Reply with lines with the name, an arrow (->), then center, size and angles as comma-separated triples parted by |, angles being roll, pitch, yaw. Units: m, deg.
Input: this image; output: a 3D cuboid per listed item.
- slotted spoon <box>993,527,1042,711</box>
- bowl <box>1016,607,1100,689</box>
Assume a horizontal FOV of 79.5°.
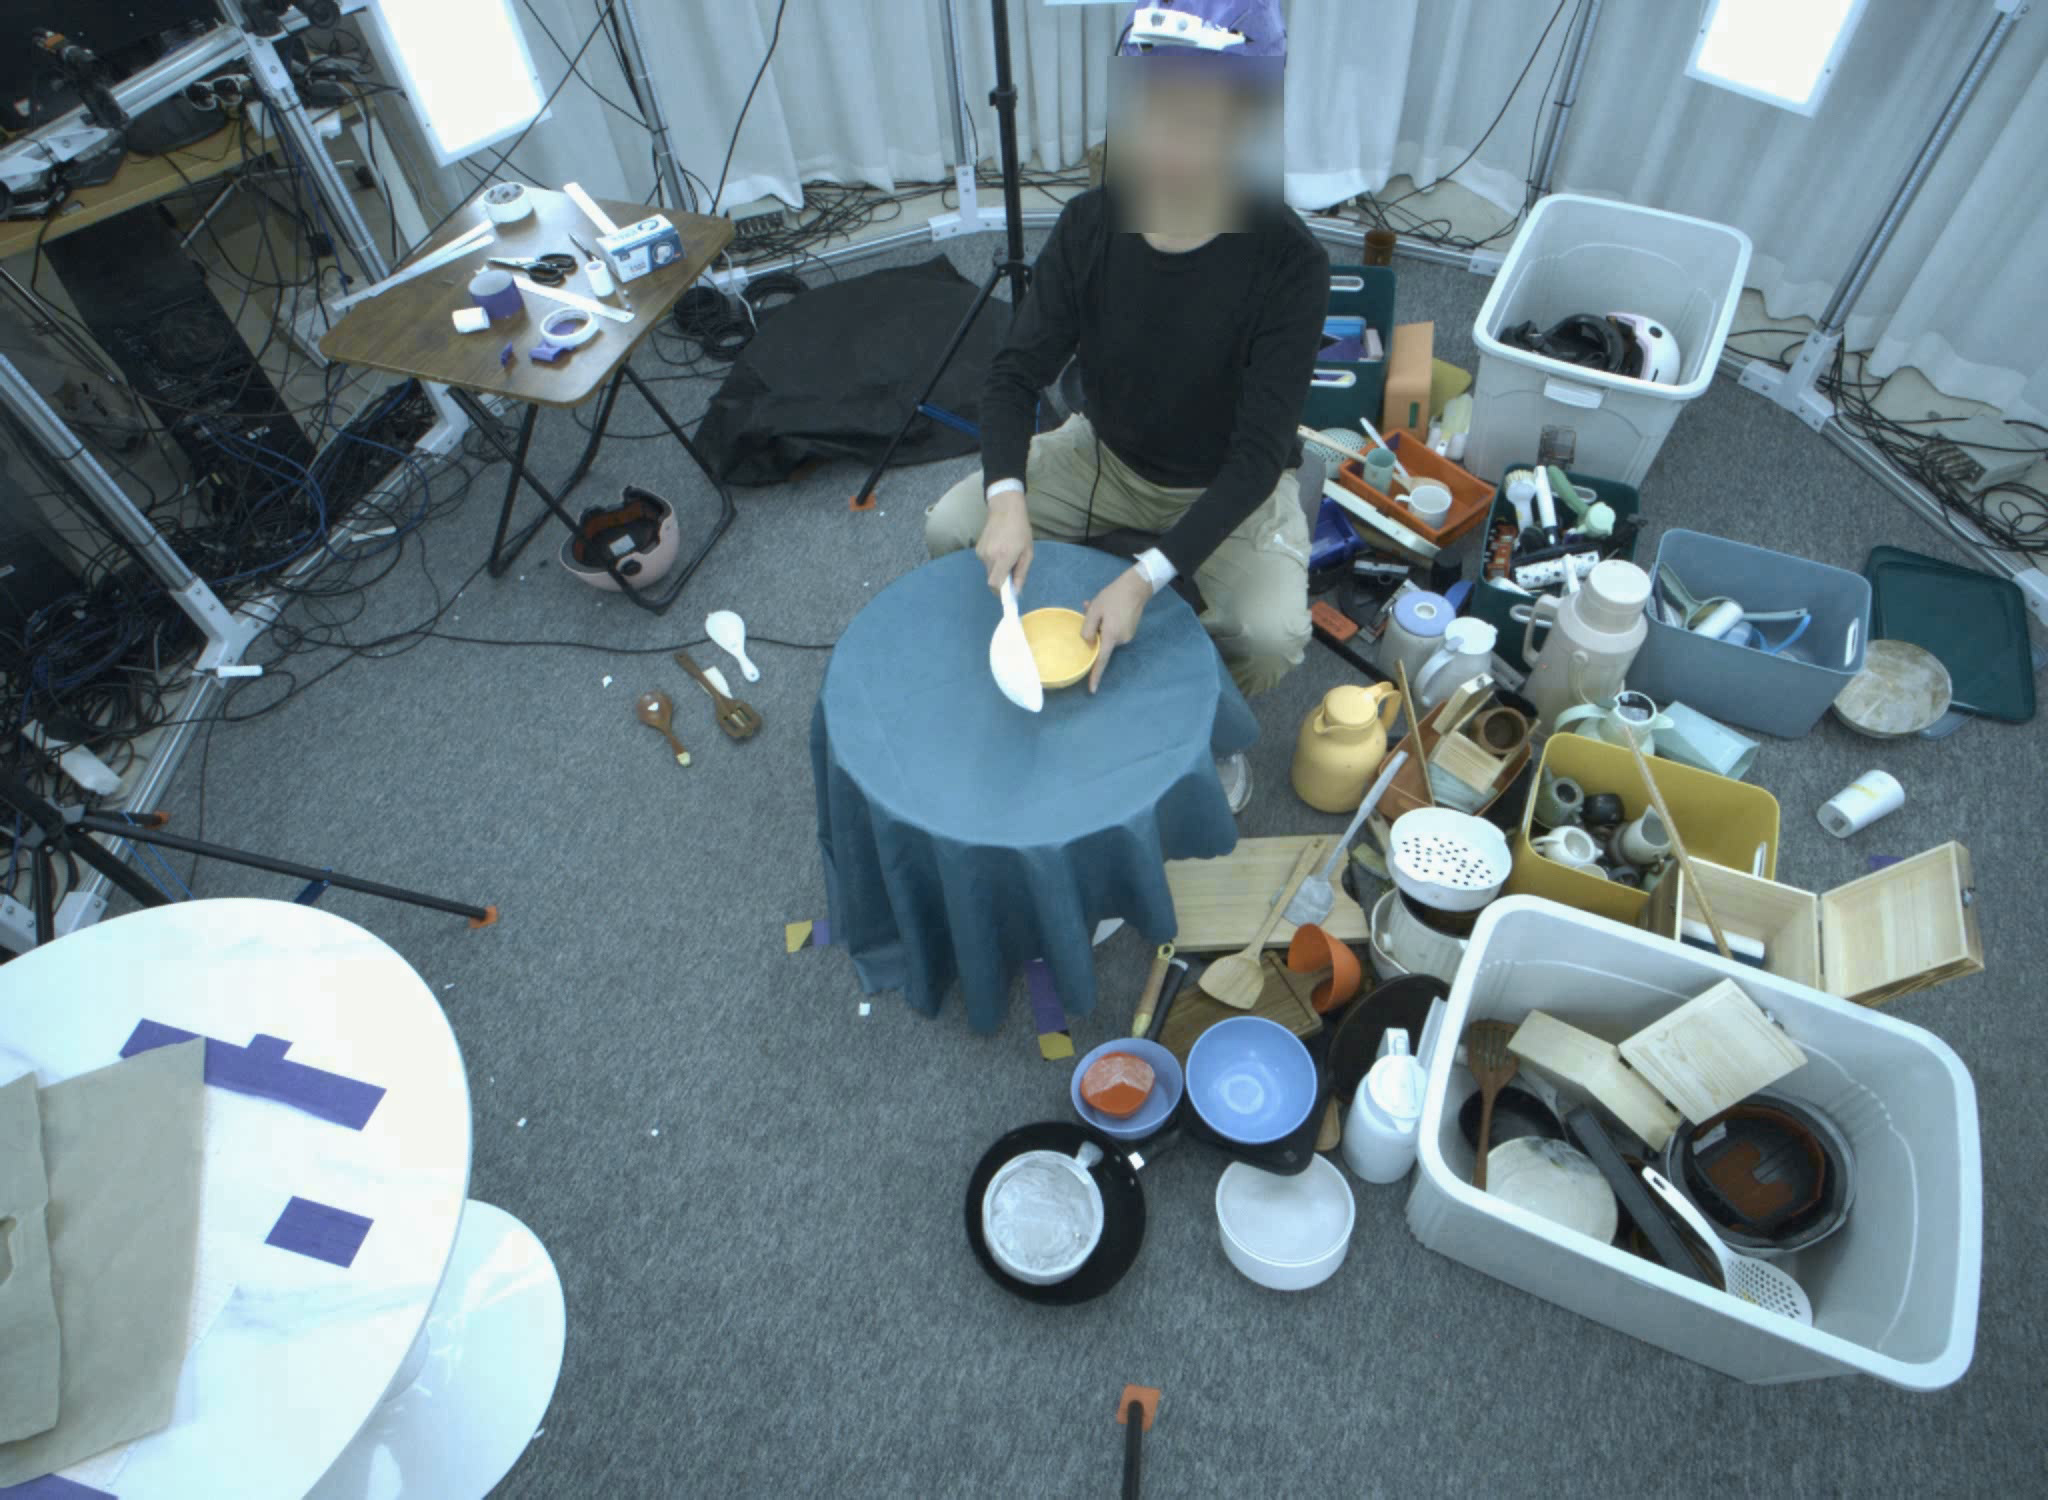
slotted spoon -> -0.019, -0.201, 1.788 | 0.045, 0.139, 0.346 | -15, 52, 17
bowl -> 0.042, -0.142, 1.855 | 0.145, 0.060, 0.144 | 1, 57, 0
